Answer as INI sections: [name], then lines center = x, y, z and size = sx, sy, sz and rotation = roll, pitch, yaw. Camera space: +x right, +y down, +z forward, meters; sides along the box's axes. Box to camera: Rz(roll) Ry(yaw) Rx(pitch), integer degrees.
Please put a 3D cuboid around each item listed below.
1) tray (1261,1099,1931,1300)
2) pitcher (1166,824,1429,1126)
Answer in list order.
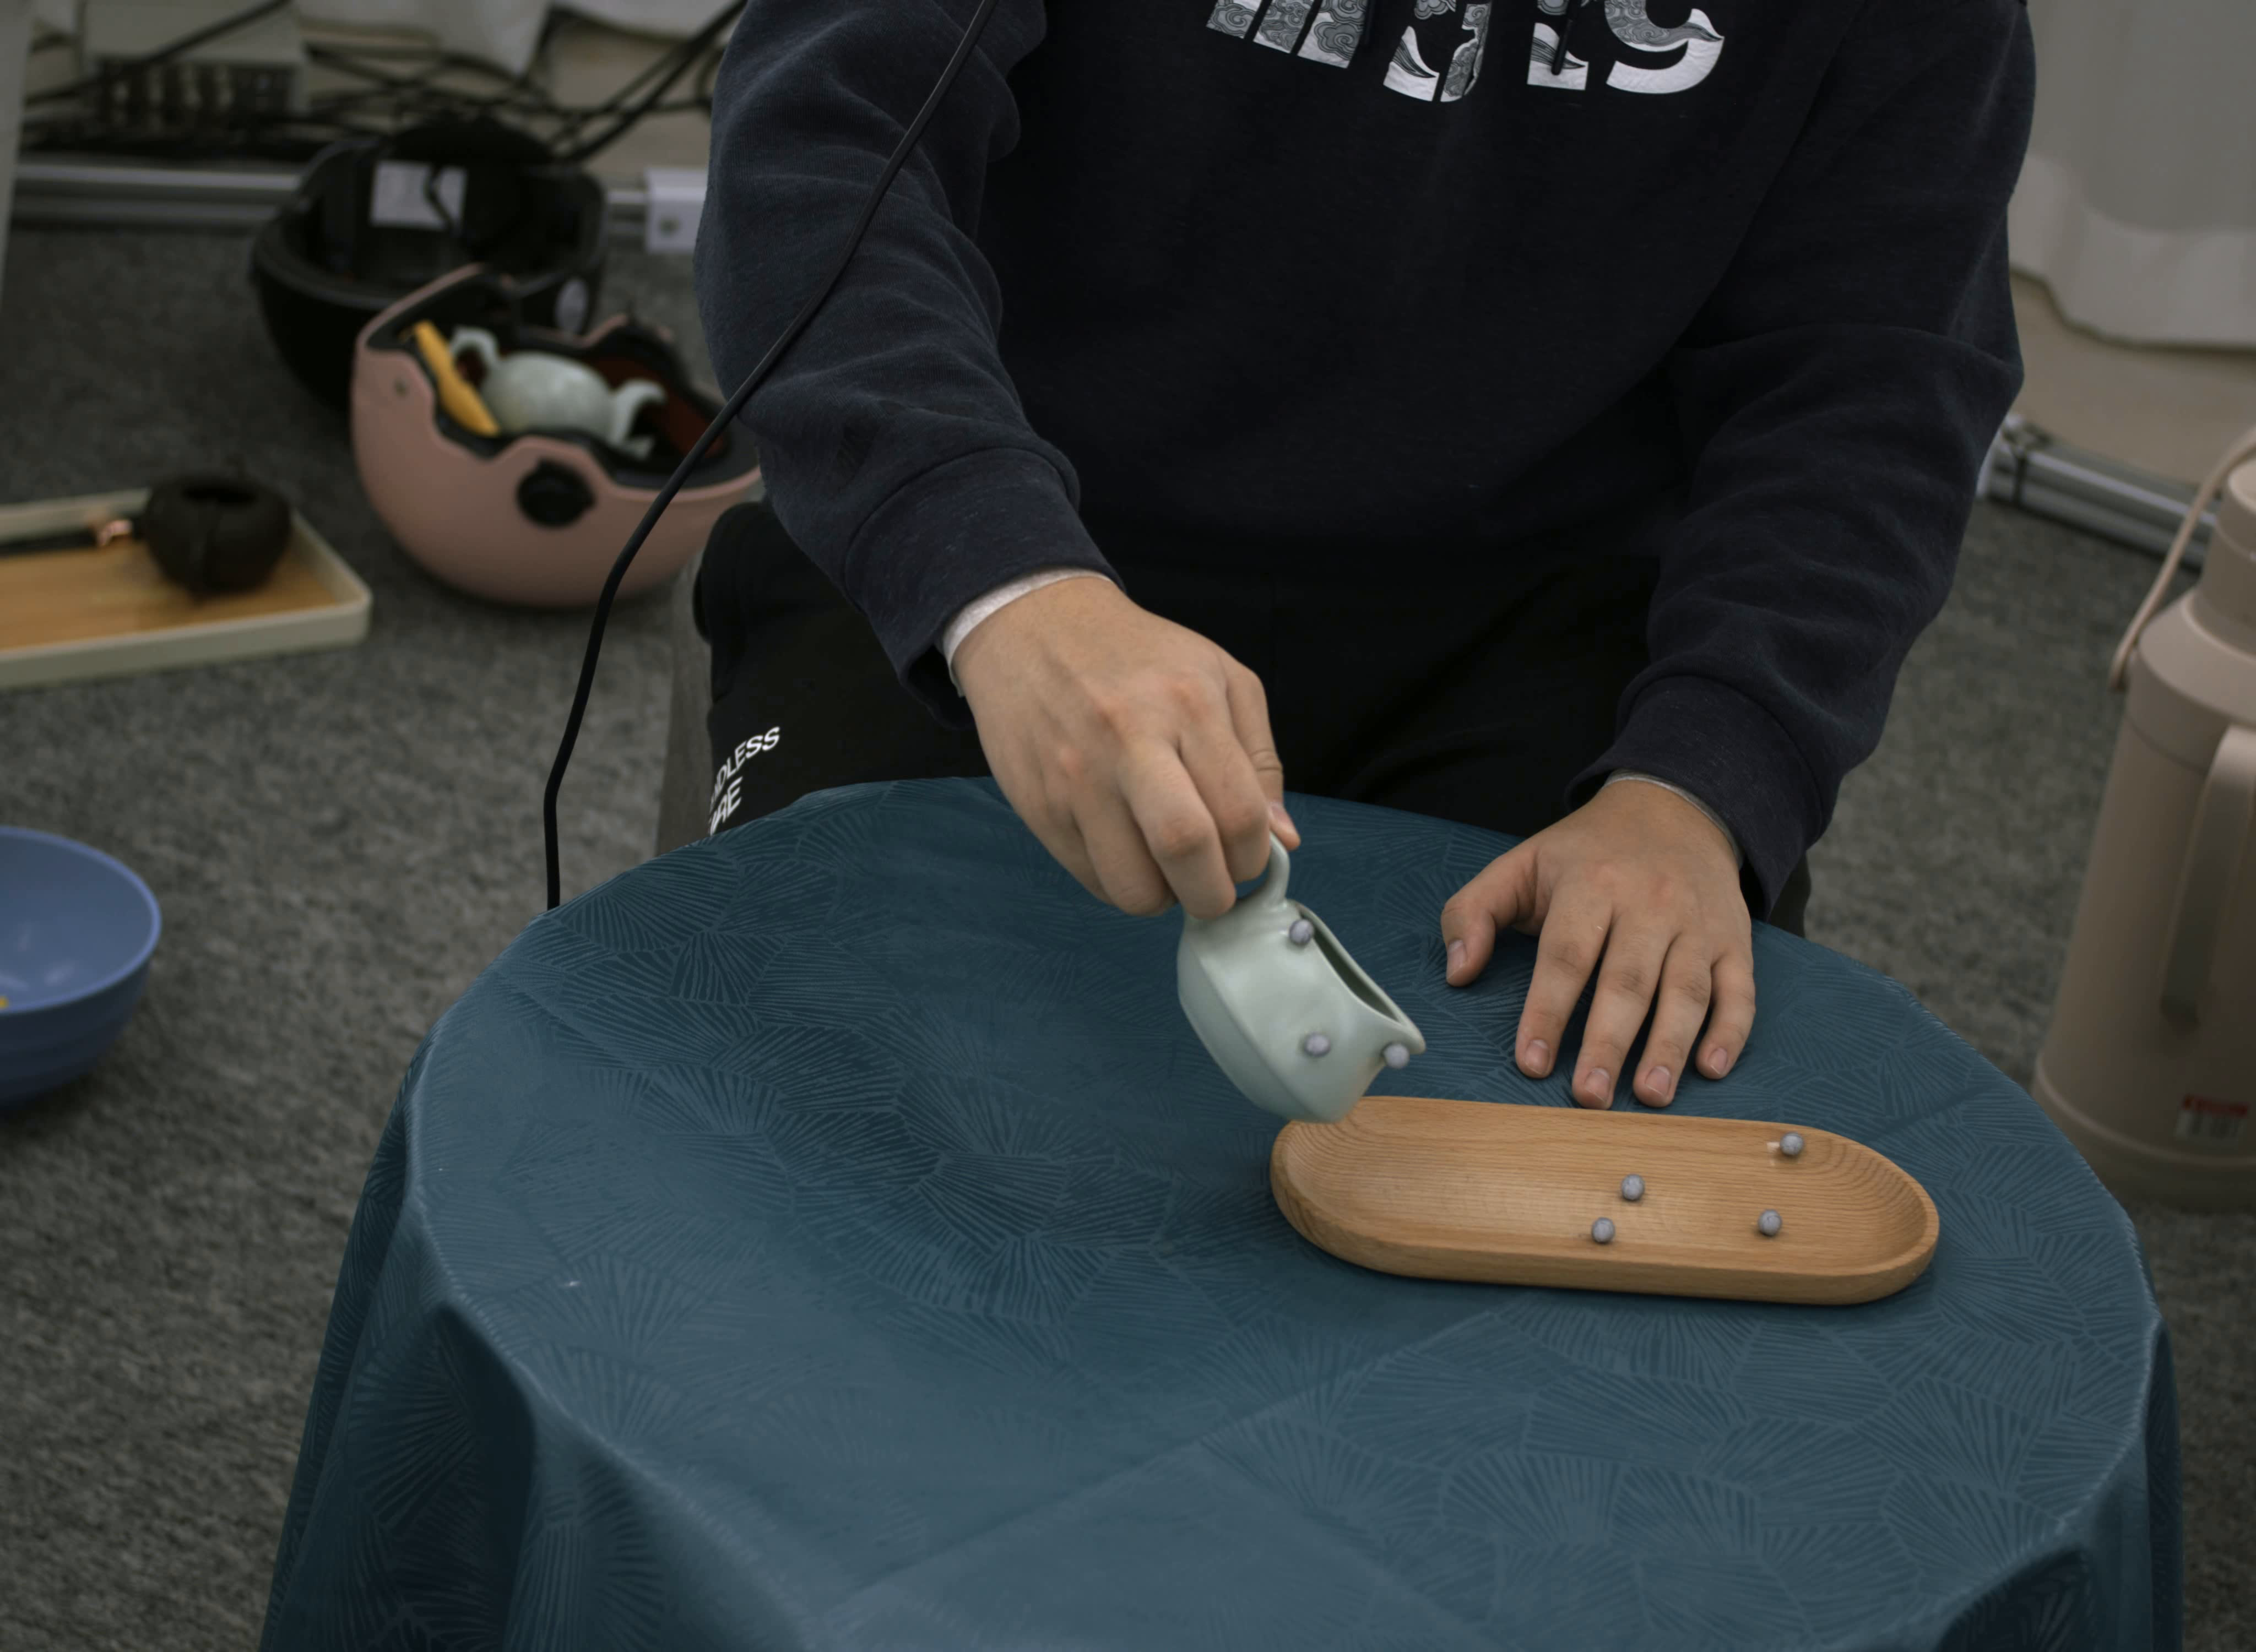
[tray]
center = 0.160, 0.128, 1.818
size = 0.230, 0.020, 0.102
rotation = 2, 25, -5
[pitcher]
center = 0.046, 0.050, 1.762
size = 0.060, 0.107, 0.086
rotation = -38, 15, 9
